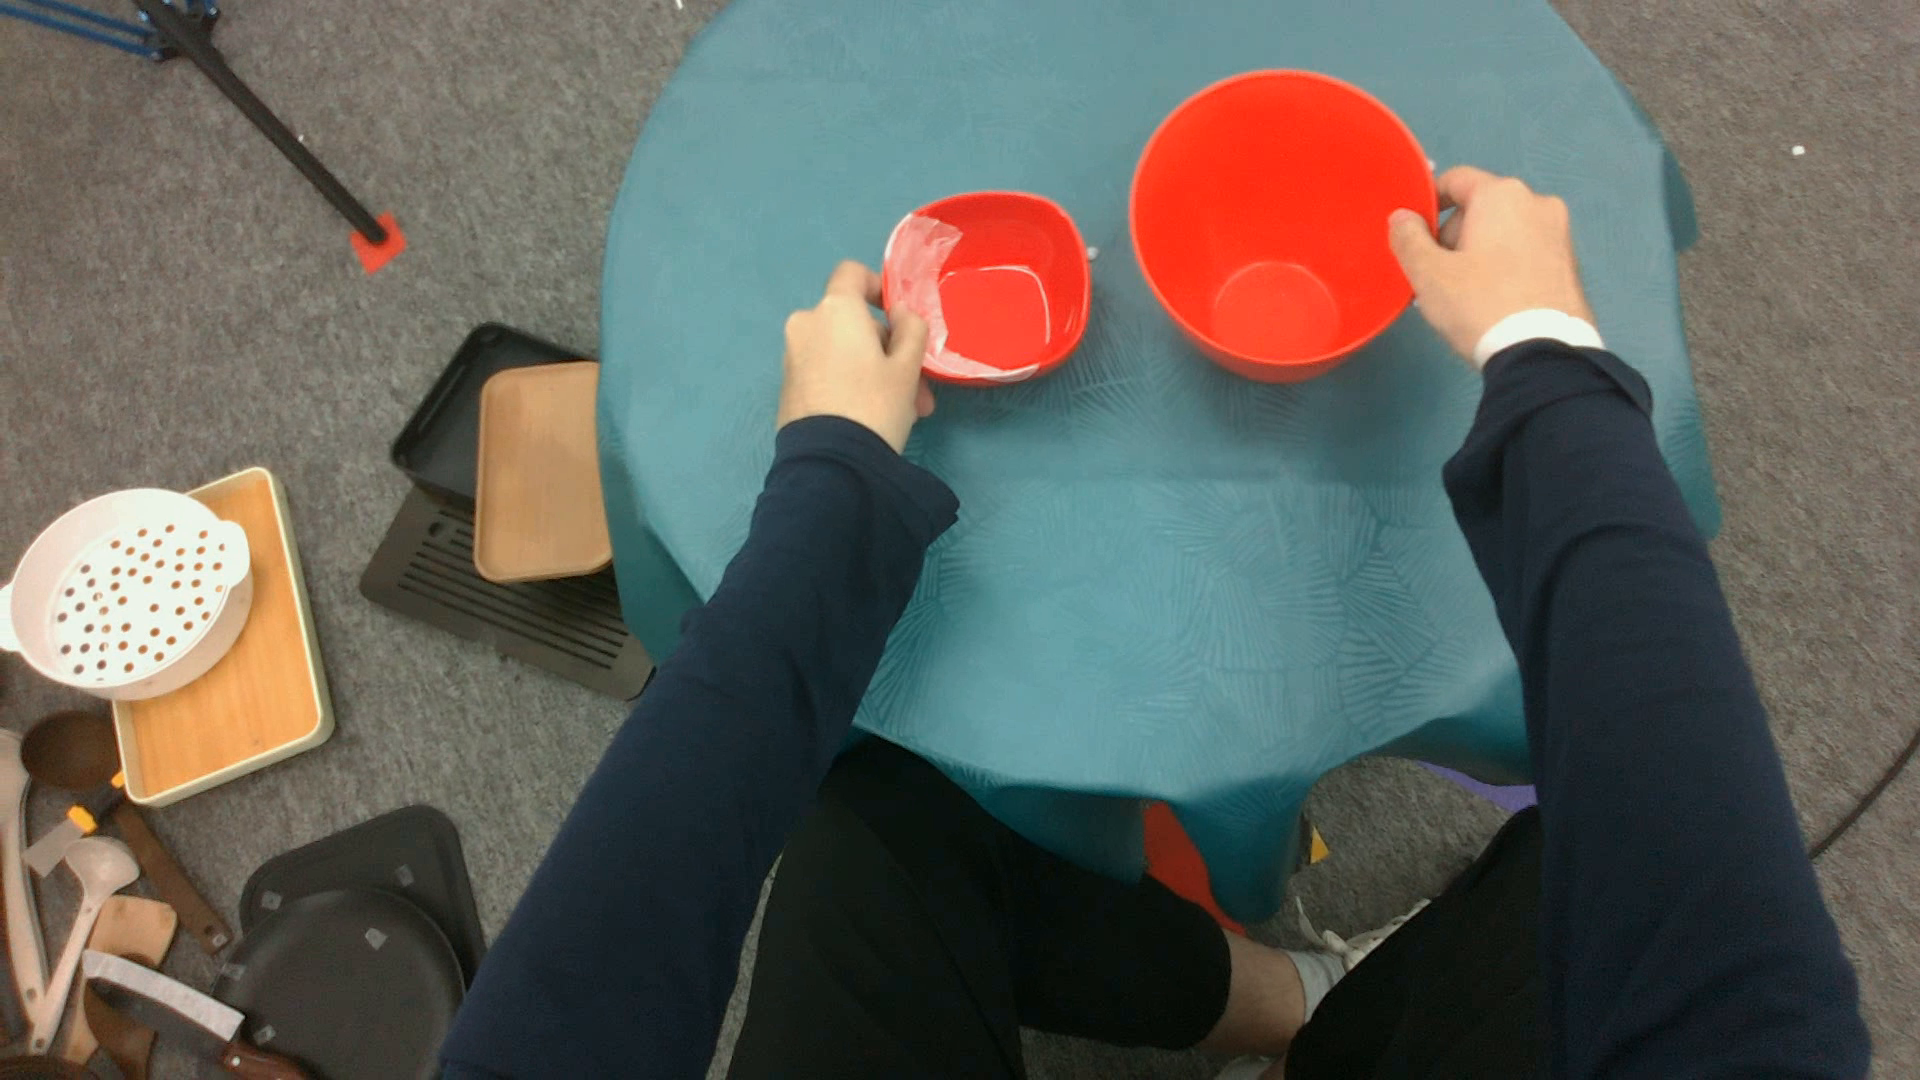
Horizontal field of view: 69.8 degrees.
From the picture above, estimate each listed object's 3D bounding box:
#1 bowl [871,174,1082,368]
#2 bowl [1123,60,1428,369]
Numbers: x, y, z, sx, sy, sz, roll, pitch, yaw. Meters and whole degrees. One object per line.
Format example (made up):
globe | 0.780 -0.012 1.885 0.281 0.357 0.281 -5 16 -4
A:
bowl | 0.010 -0.136 0.742 0.119 0.051 0.119 -1 70 3
bowl | 0.157 -0.153 0.711 0.148 0.104 0.148 -1 72 5
